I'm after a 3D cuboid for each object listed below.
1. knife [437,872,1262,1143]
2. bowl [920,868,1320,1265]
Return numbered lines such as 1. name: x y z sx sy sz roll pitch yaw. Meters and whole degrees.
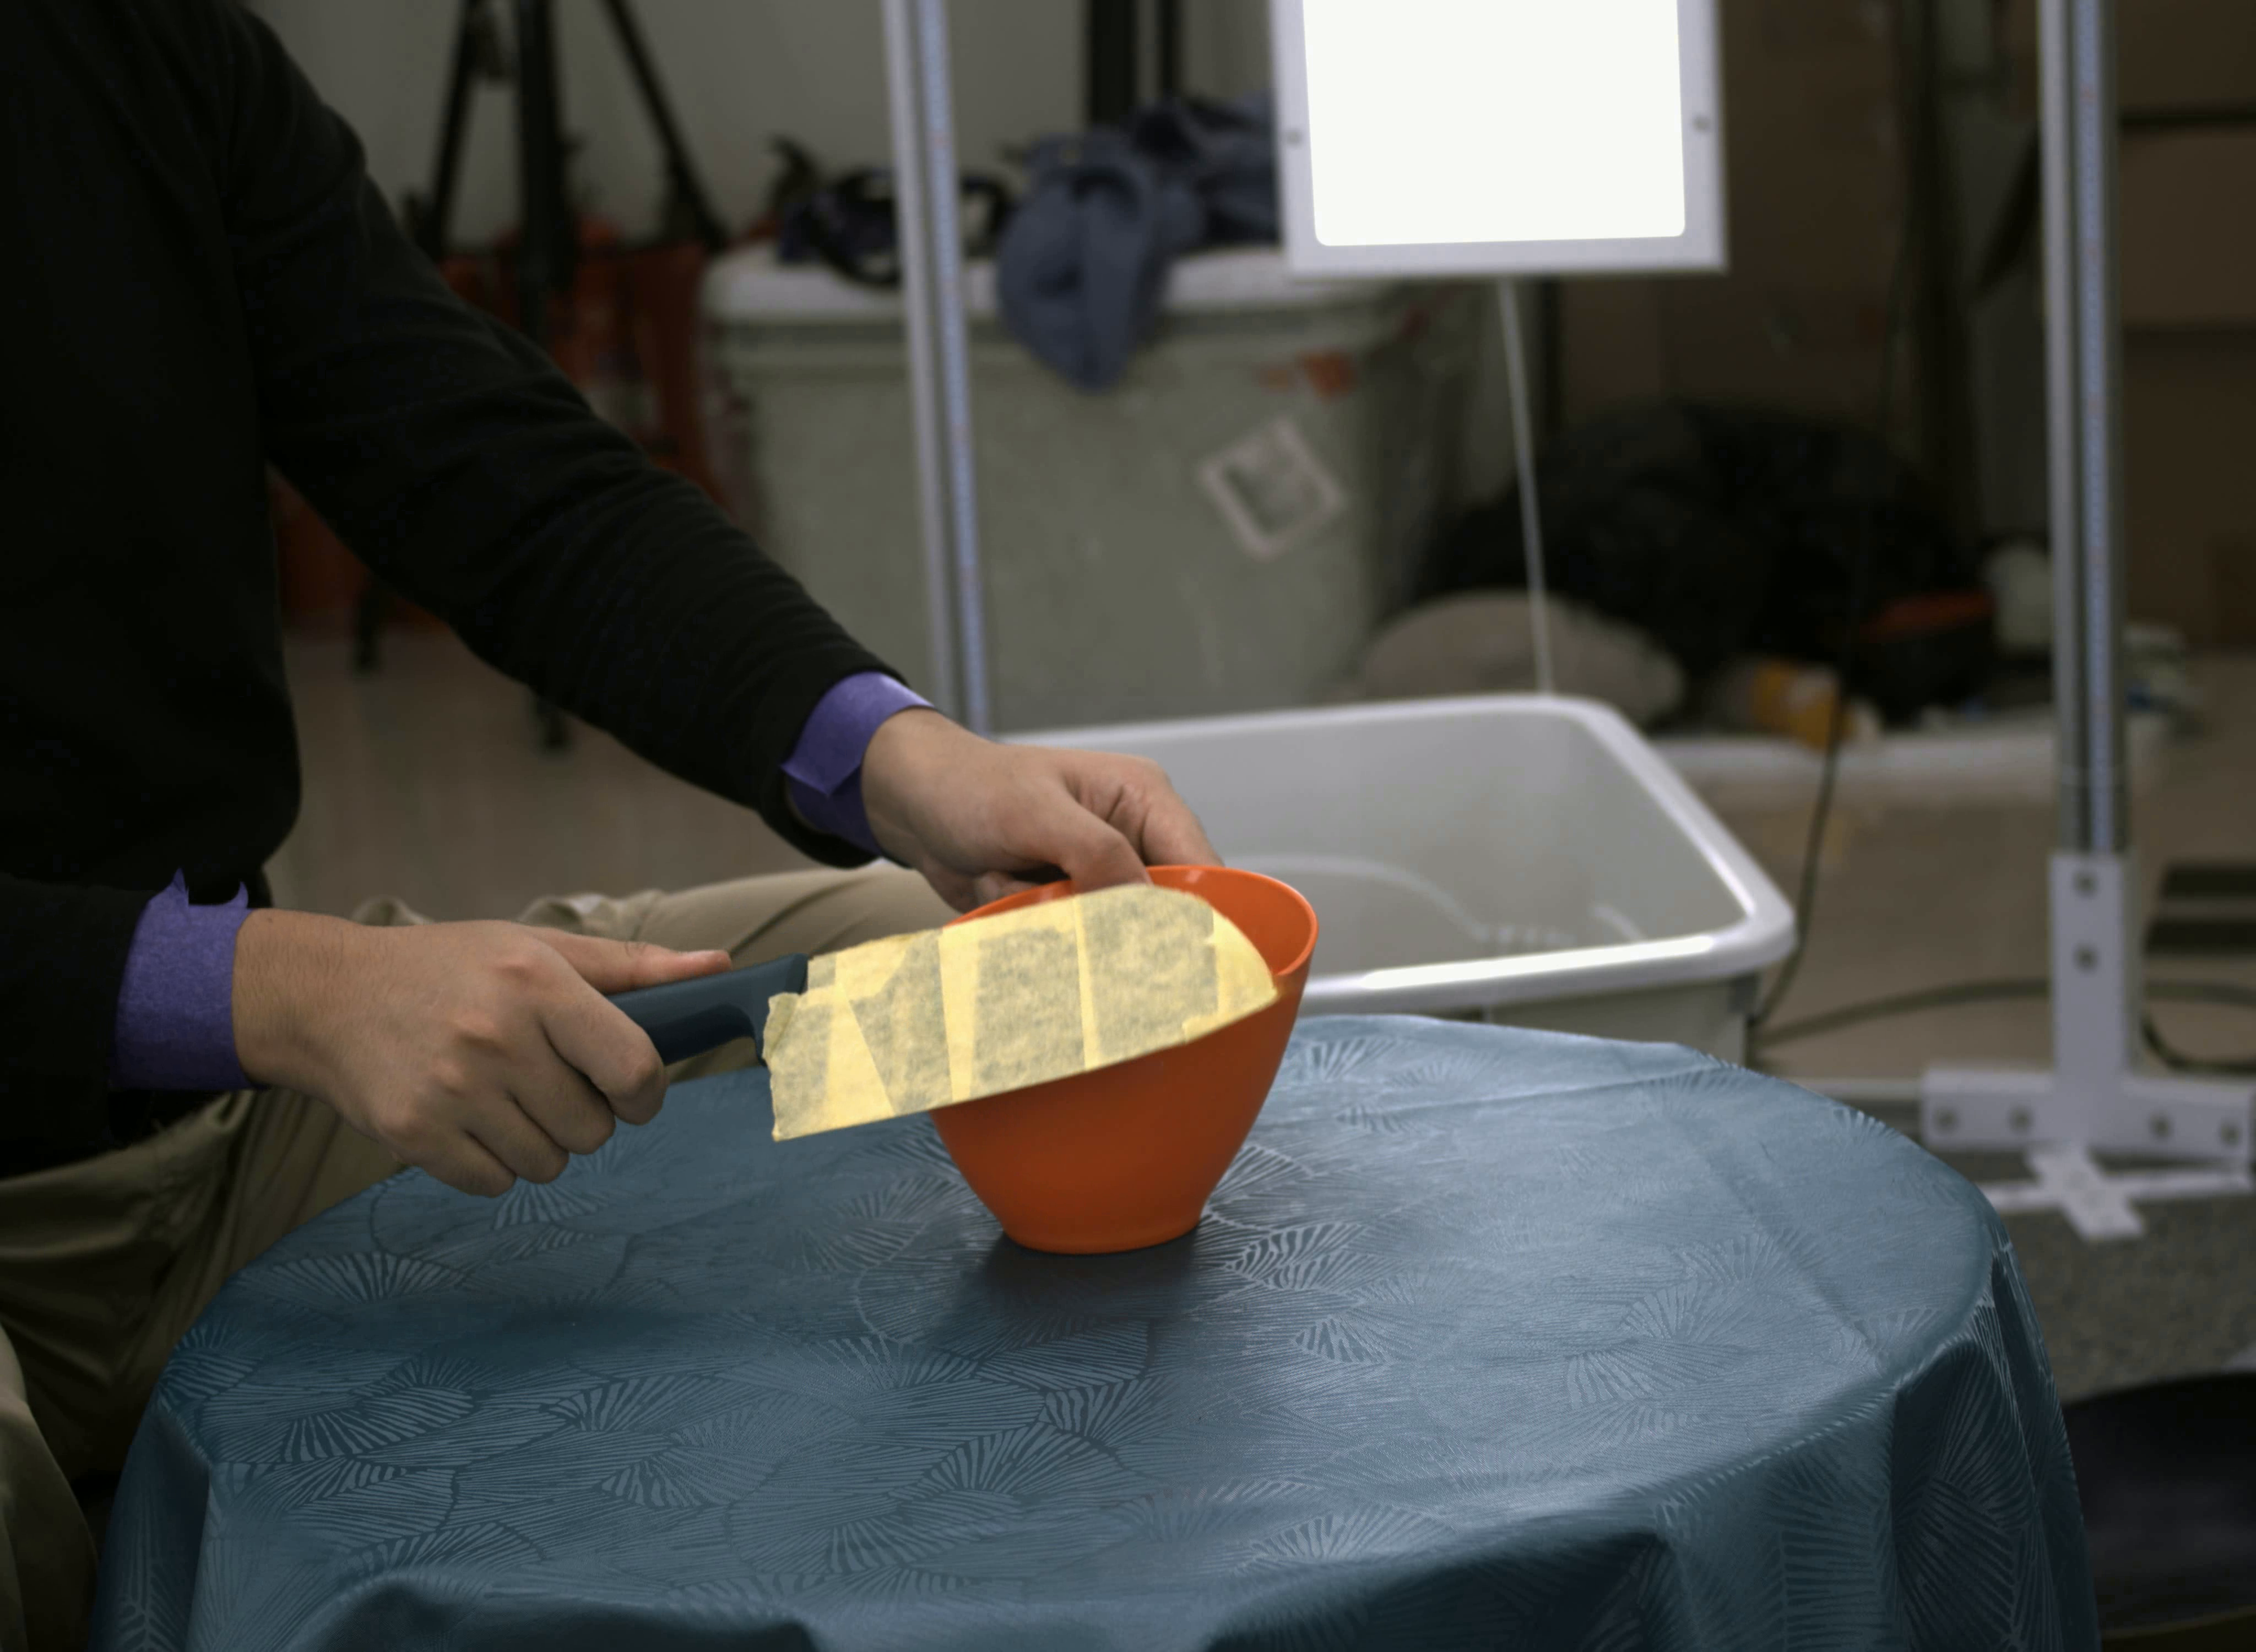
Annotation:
1. knife: -0.093 0.068 1.804 0.292 0.027 0.081 -14 47 16
2. bowl: -0.004 0.085 1.863 0.148 0.105 0.148 -6 16 0
